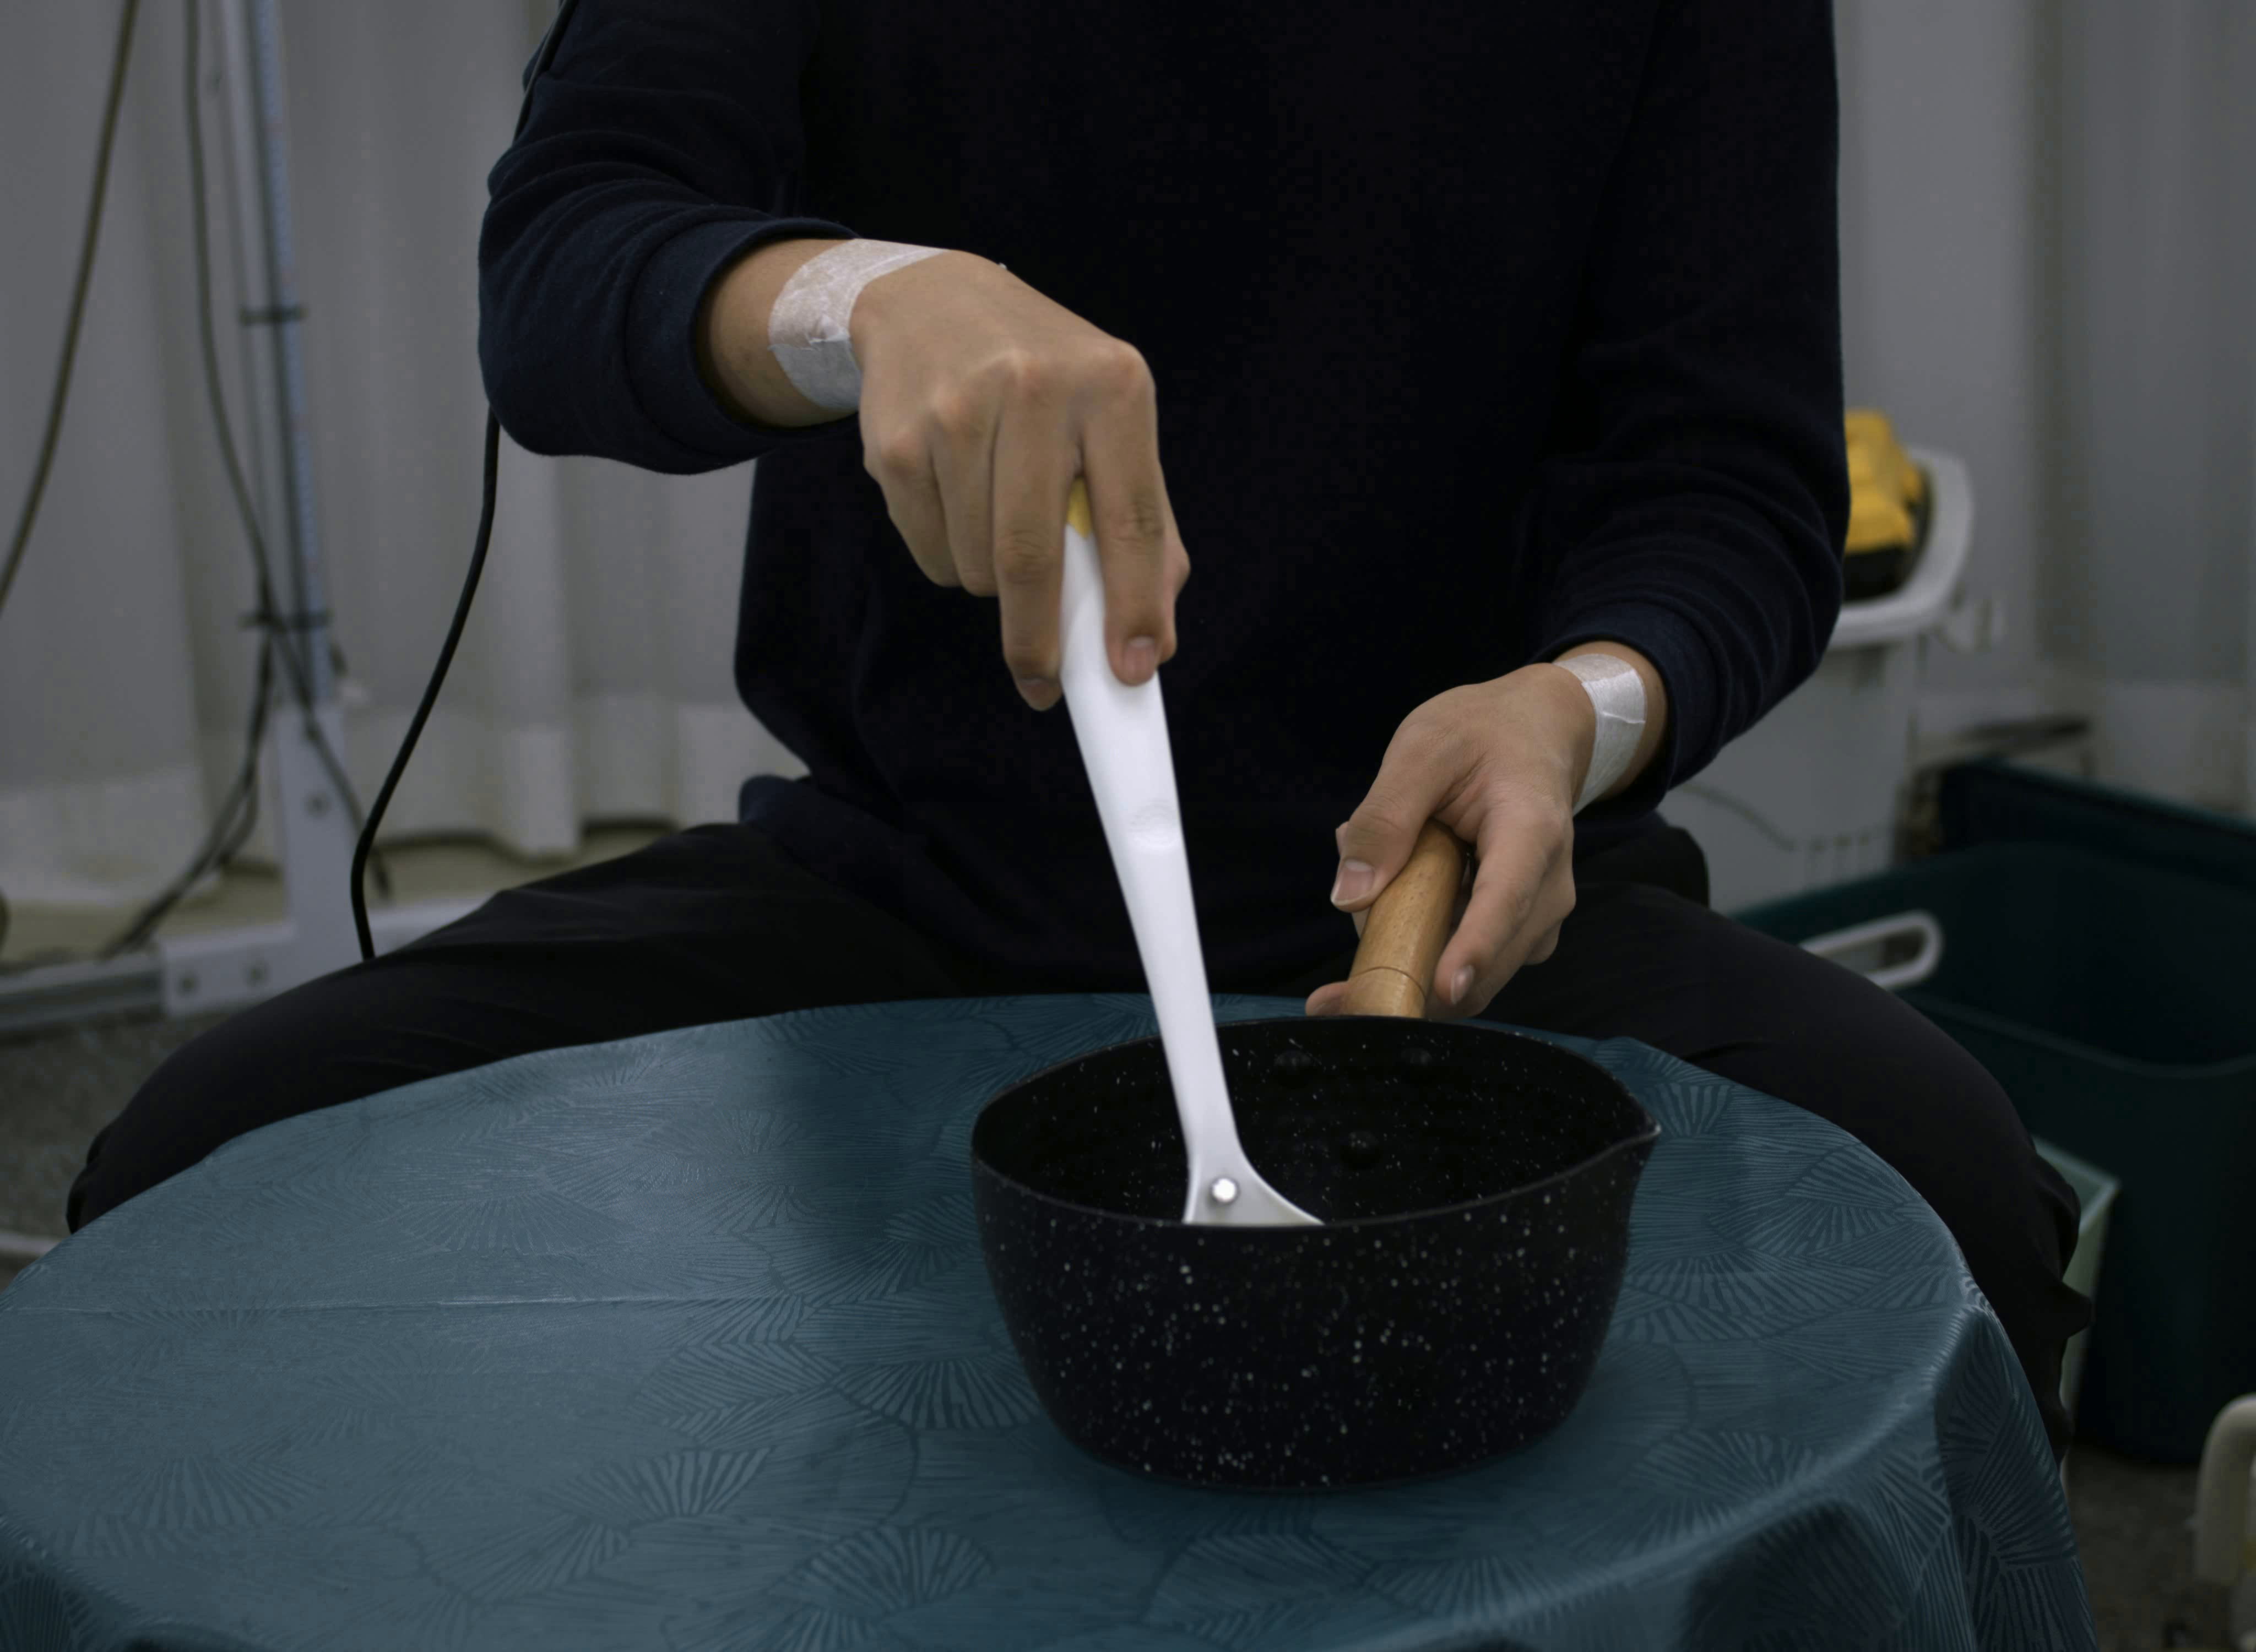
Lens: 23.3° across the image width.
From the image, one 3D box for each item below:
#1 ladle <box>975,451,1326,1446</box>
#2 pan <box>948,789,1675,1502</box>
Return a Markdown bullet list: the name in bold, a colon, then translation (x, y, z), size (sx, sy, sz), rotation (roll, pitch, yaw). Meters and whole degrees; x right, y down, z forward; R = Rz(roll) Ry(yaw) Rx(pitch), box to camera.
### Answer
- **ladle**: translation (0.011, 0.032, 1.520), size (0.090, 0.295, 0.069), rotation (-11, -12, -14)
- **pan**: translation (0.065, 0.088, 1.596), size (0.207, 0.108, 0.345), rotation (-1, 16, 11)
